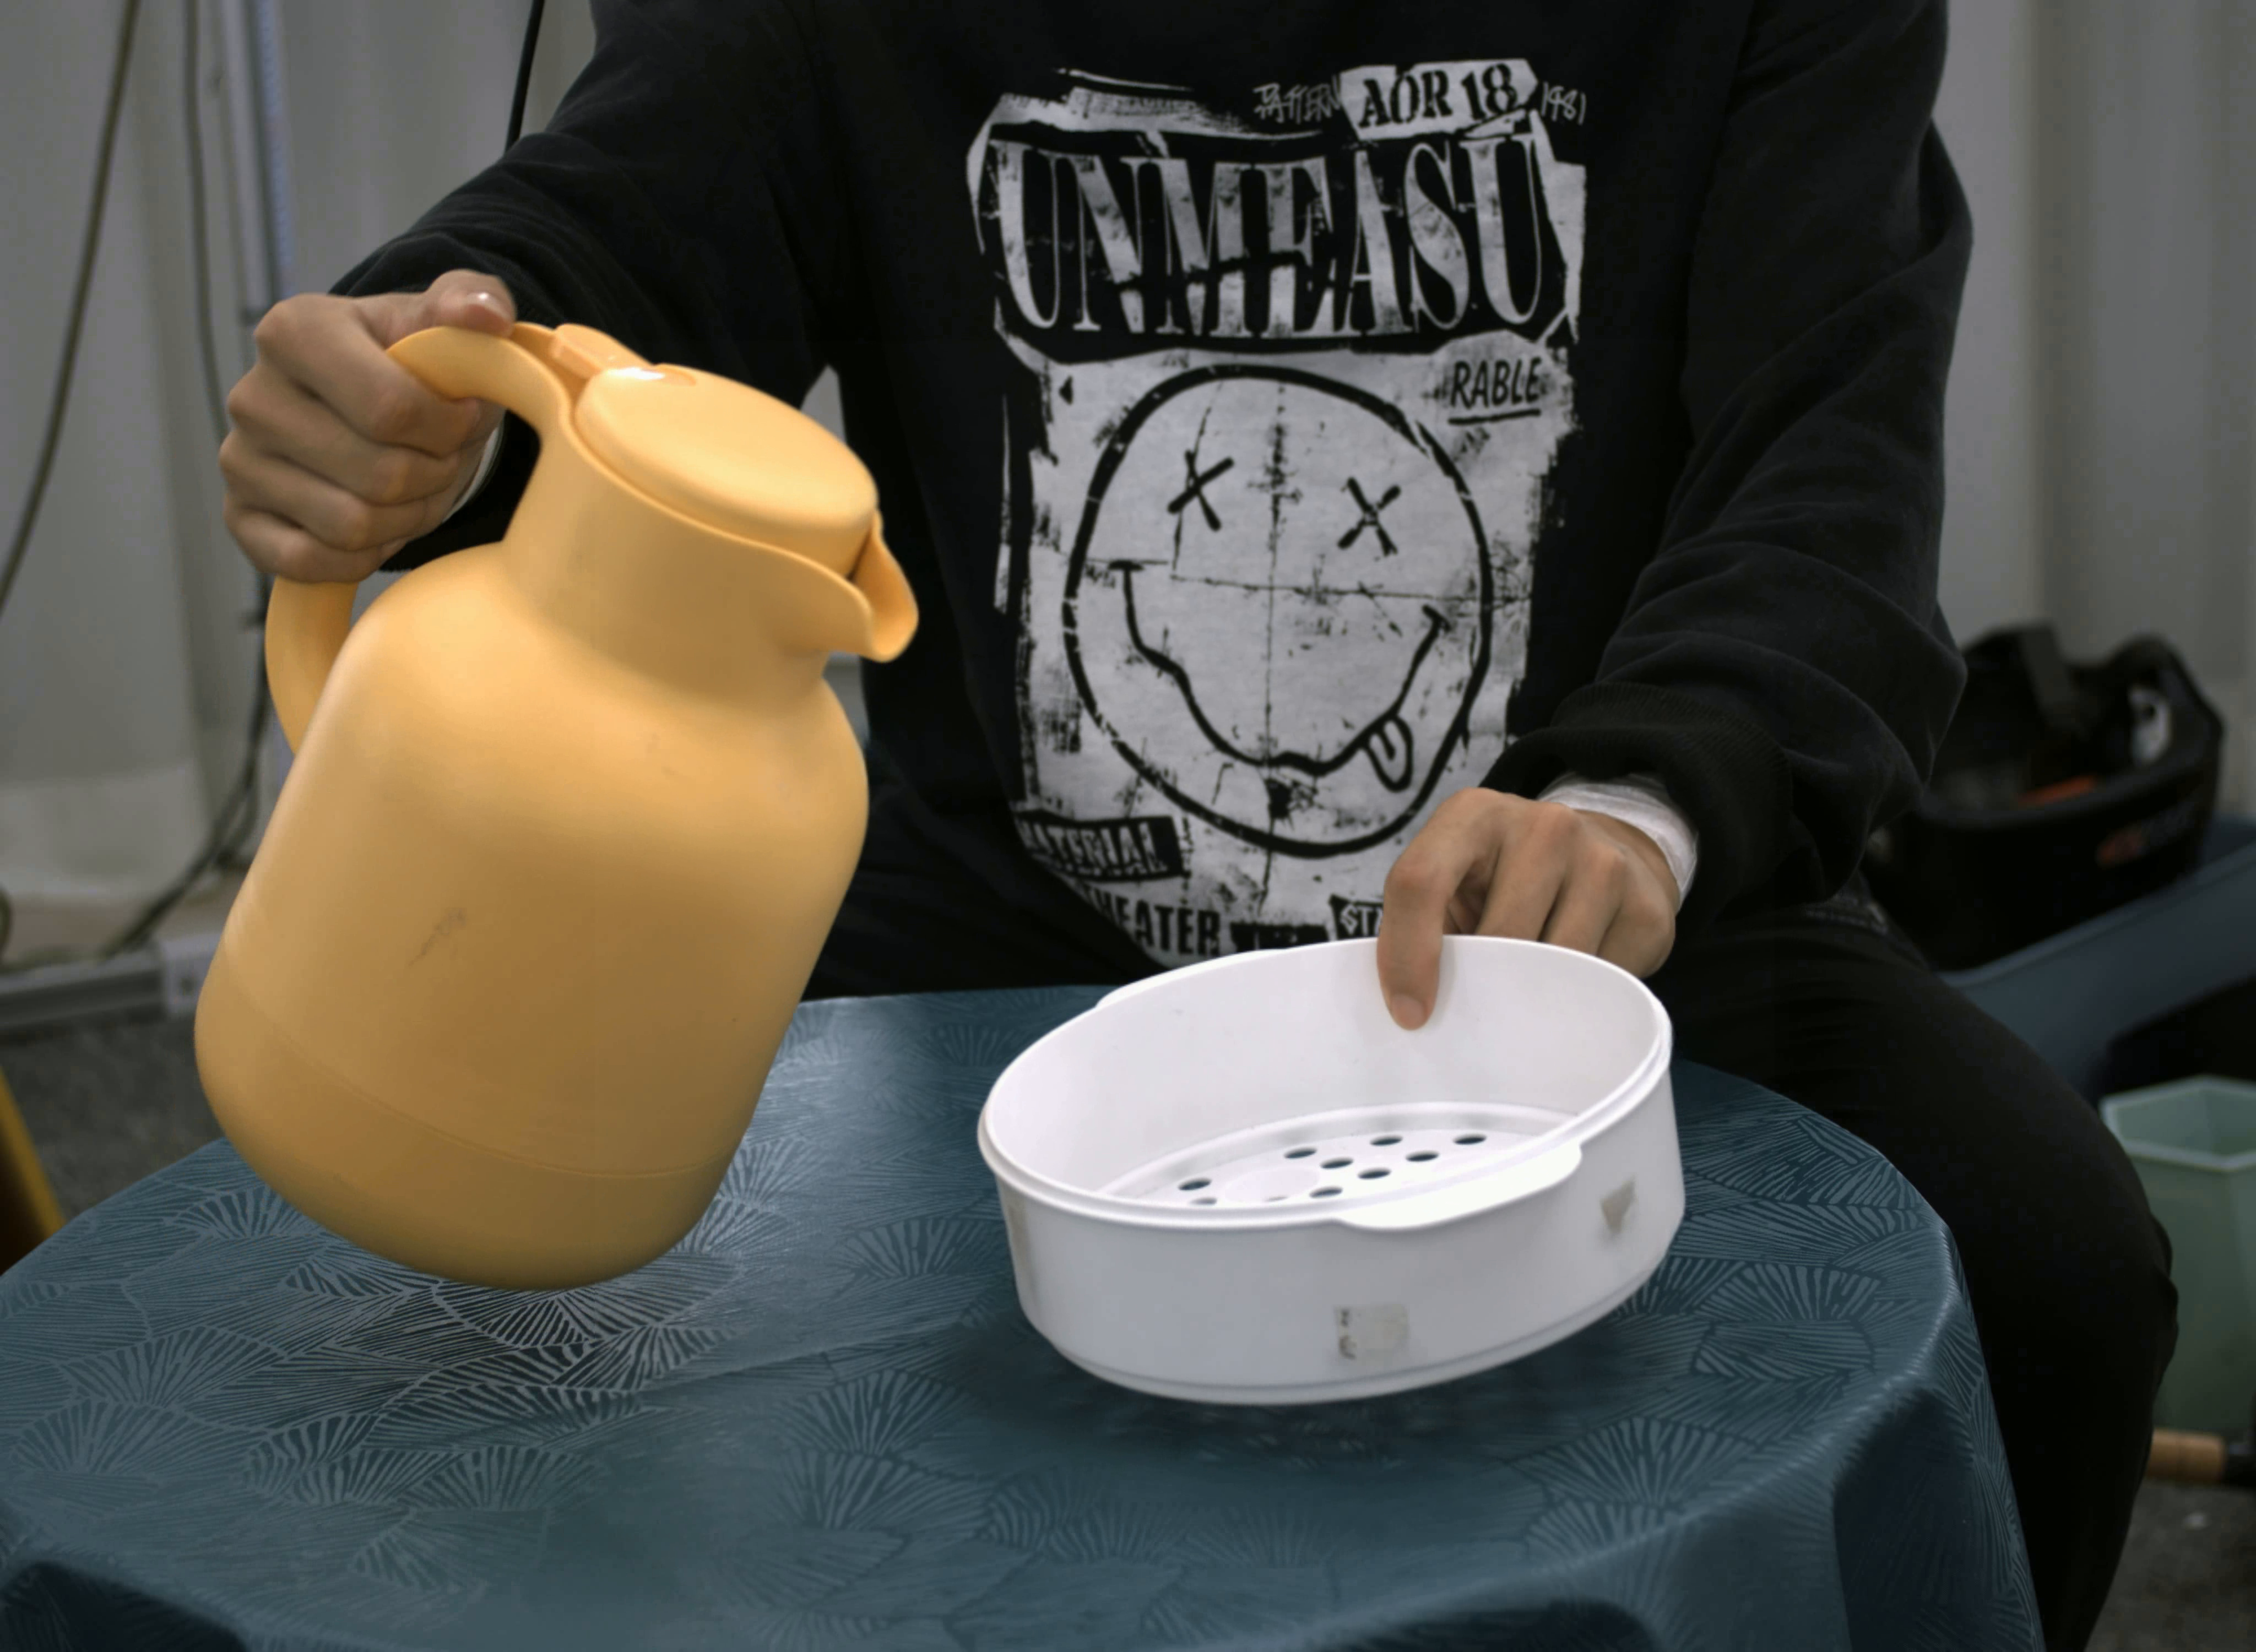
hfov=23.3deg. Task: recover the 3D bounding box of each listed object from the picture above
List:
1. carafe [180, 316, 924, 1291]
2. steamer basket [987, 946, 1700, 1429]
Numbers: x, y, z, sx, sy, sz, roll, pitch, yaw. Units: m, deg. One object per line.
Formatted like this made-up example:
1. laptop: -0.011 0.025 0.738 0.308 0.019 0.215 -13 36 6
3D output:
1. carafe: -0.172 -0.016 1.580 0.204 0.259 0.163 38 22 27
2. steamer basket: 0.063 0.103 1.552 0.201 0.069 0.233 -16 21 -17
